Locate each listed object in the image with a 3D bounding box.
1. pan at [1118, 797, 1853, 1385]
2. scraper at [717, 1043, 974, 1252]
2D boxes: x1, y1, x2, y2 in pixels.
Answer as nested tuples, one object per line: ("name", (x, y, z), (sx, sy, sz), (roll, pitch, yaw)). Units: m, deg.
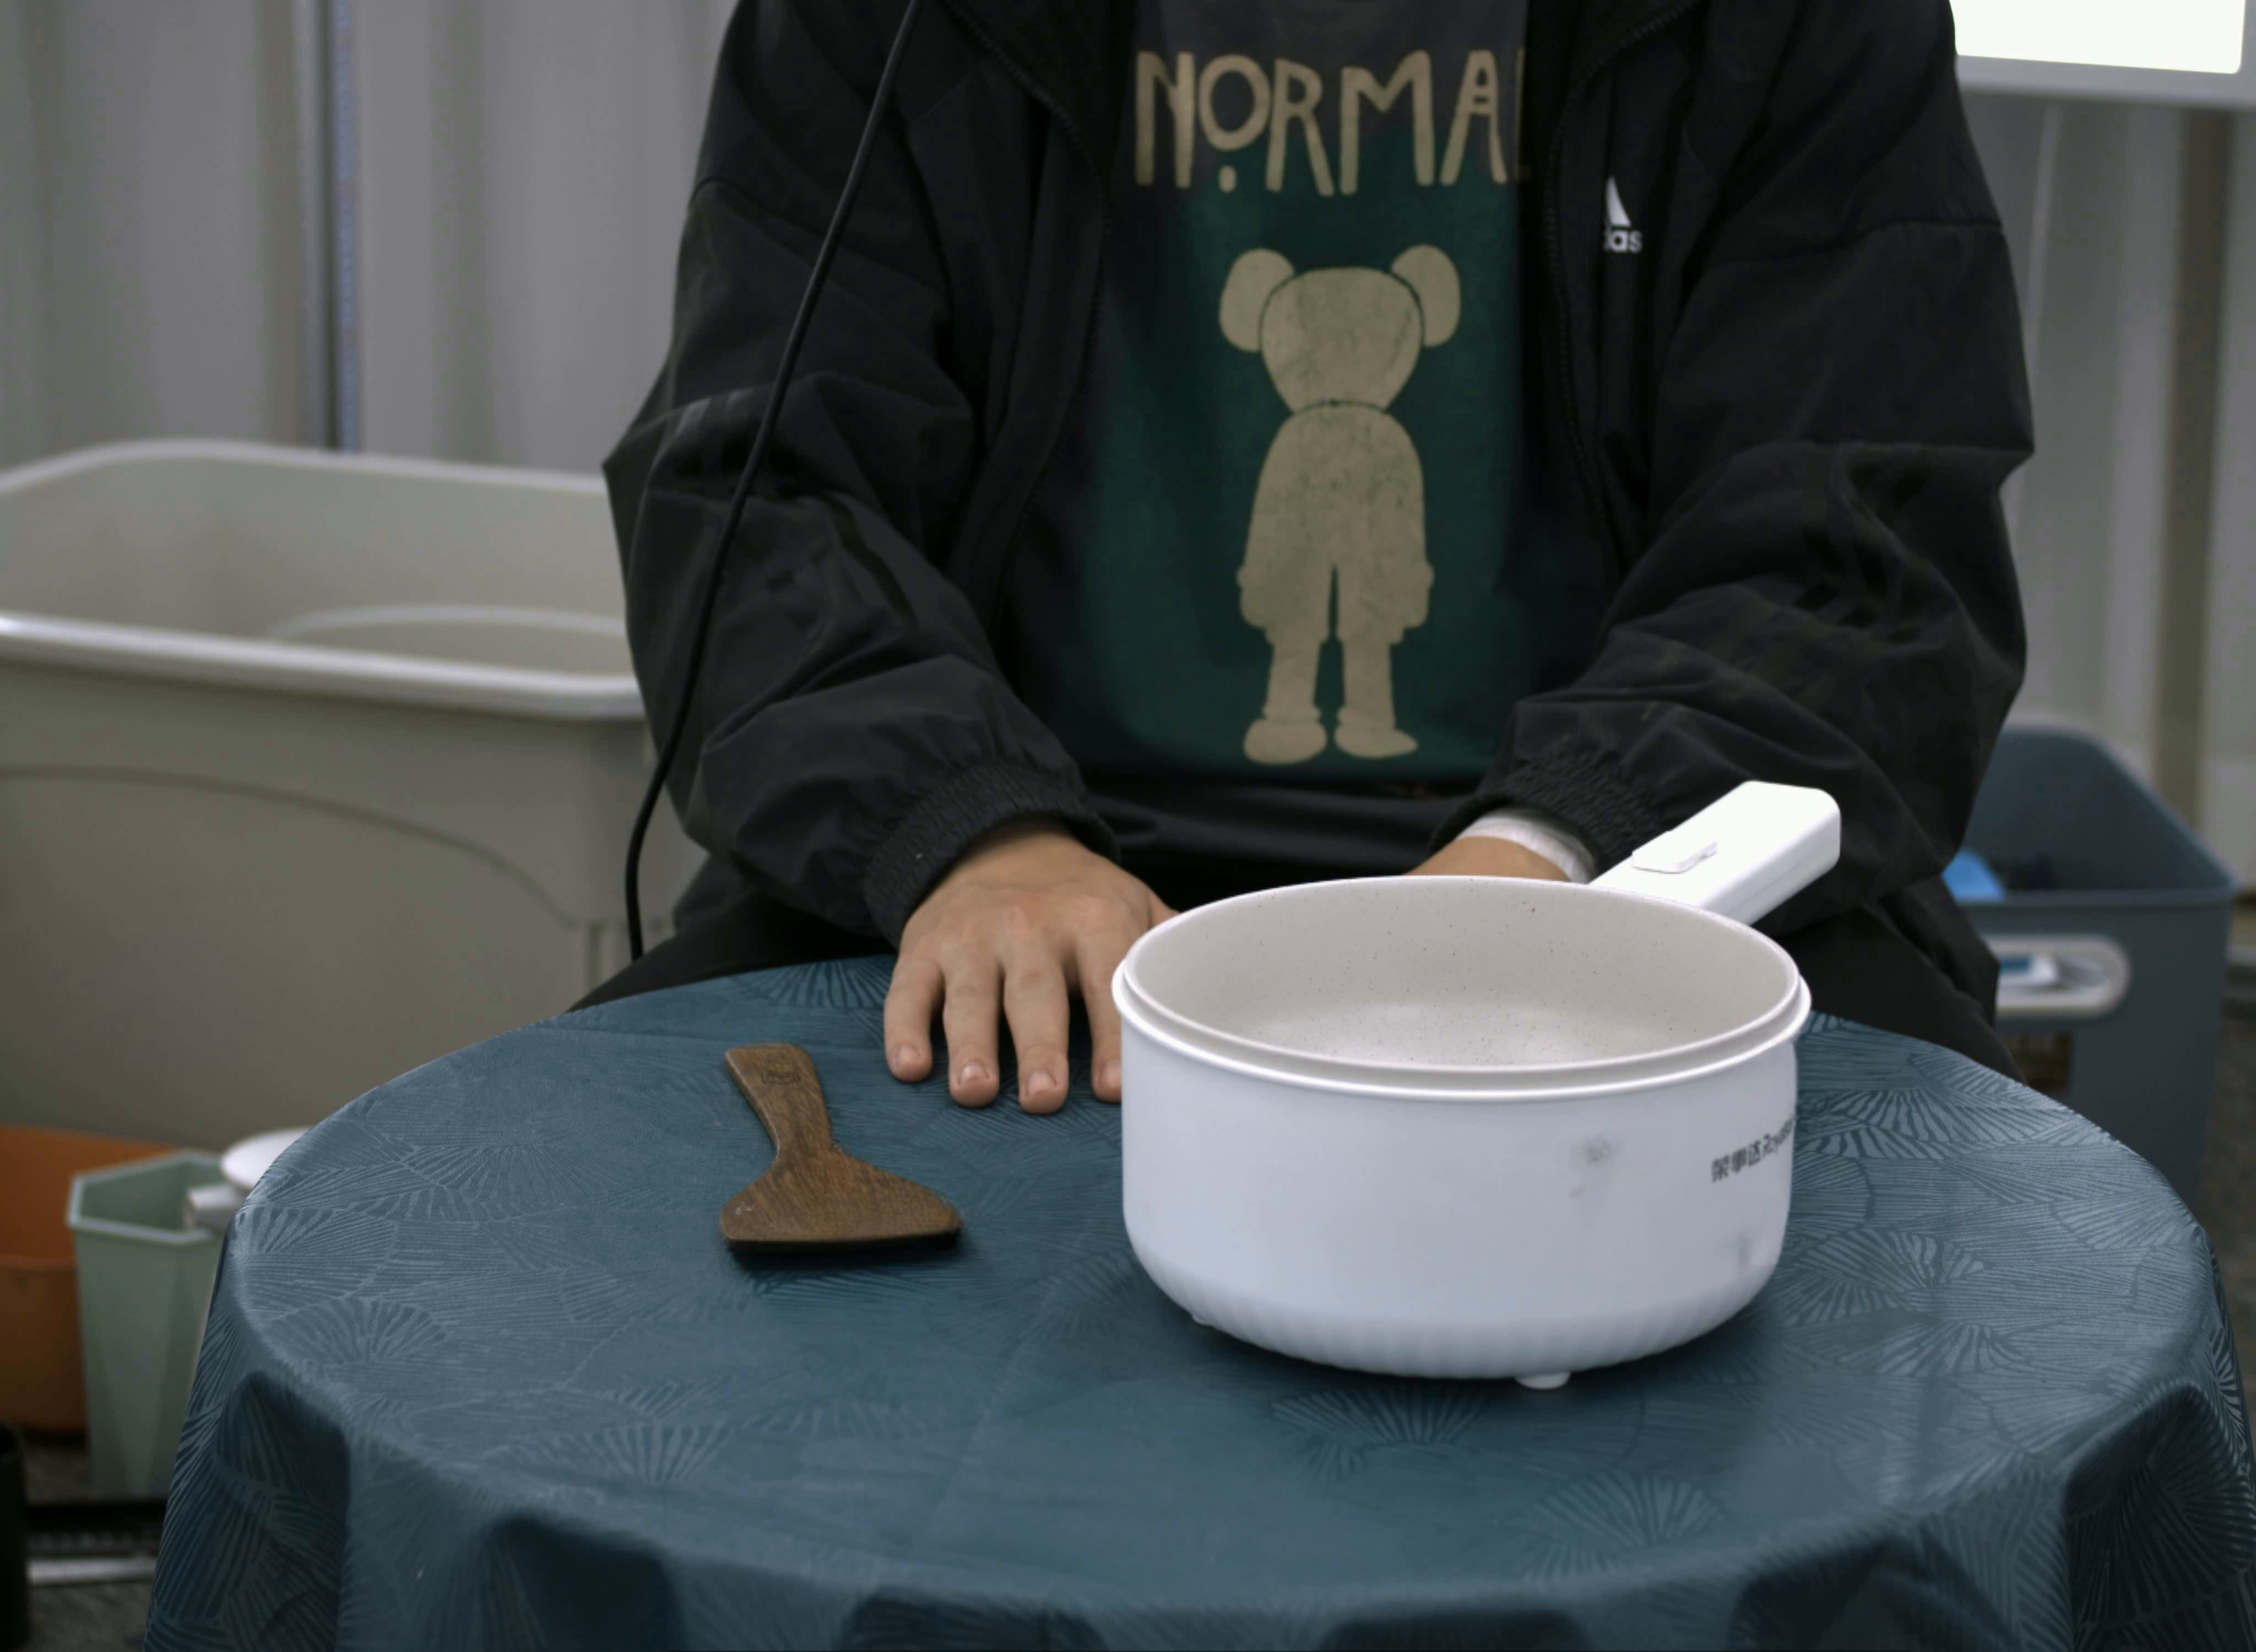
("pan", (0.133, 0.073, 1.591), (0.199, 0.103, 0.356), (8, 16, 27))
("scraper", (-0.100, 0.100, 1.651), (0.076, 0.011, 0.209), (-1, 15, -11))
